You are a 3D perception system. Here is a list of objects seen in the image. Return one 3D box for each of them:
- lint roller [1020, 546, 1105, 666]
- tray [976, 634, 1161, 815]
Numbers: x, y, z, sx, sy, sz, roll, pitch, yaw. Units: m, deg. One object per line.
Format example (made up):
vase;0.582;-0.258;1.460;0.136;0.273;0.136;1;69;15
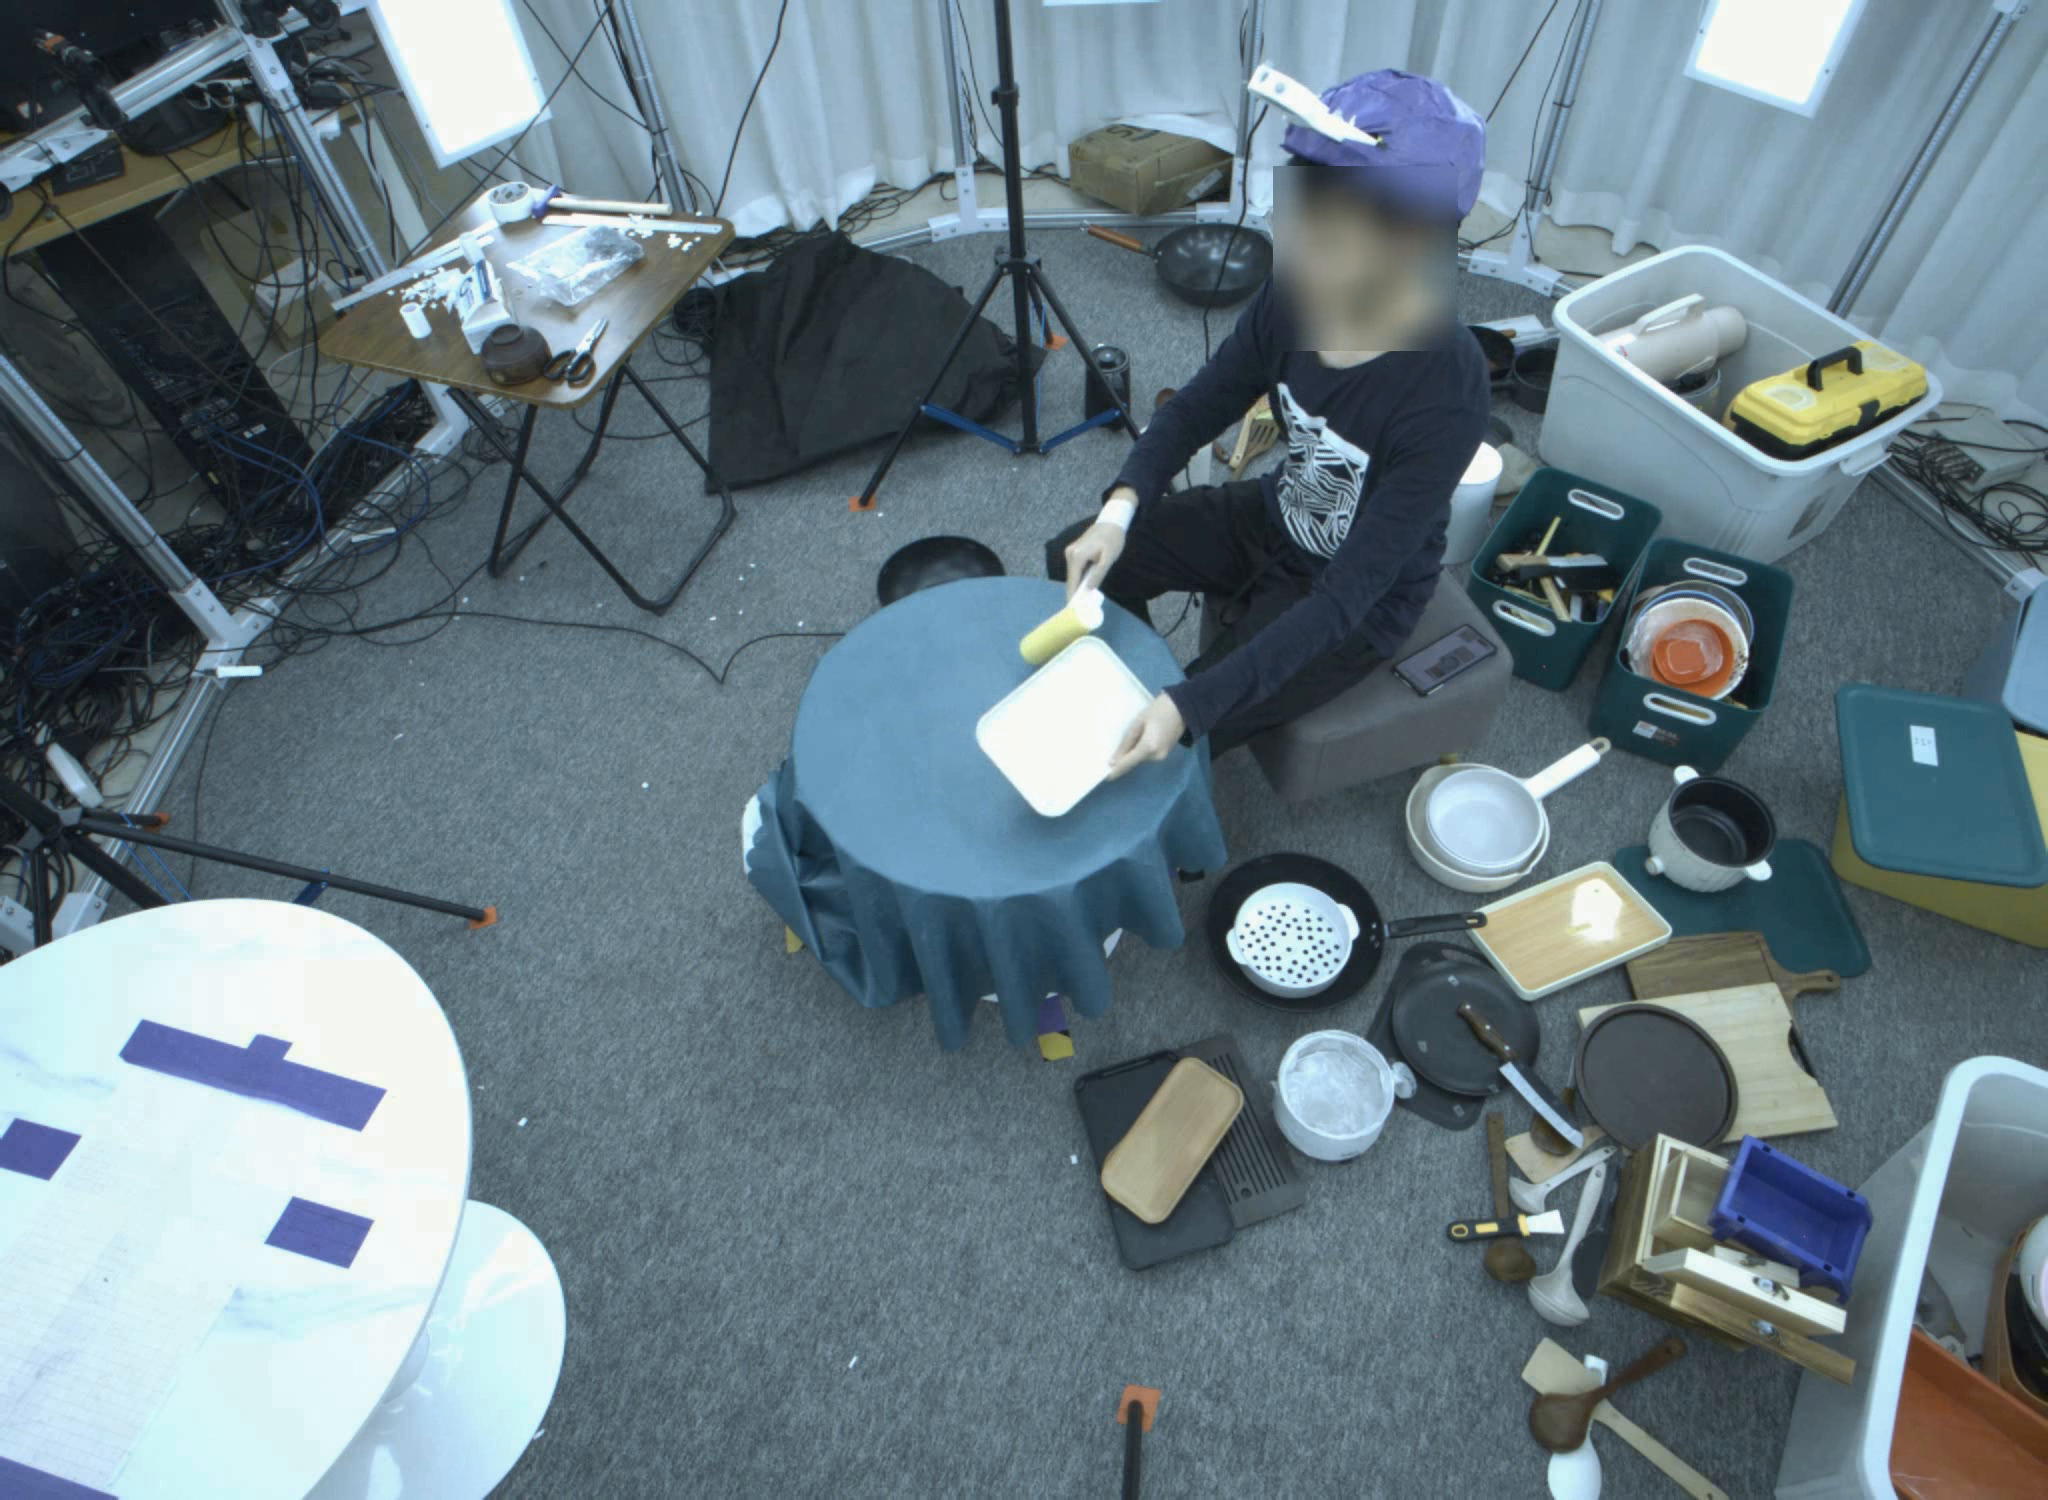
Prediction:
lint roller;0.070;-0.233;1.827;0.052;0.172;0.191;24;62;-23
tray;0.062;-0.036;1.691;0.241;0.017;0.171;-41;91;-20
